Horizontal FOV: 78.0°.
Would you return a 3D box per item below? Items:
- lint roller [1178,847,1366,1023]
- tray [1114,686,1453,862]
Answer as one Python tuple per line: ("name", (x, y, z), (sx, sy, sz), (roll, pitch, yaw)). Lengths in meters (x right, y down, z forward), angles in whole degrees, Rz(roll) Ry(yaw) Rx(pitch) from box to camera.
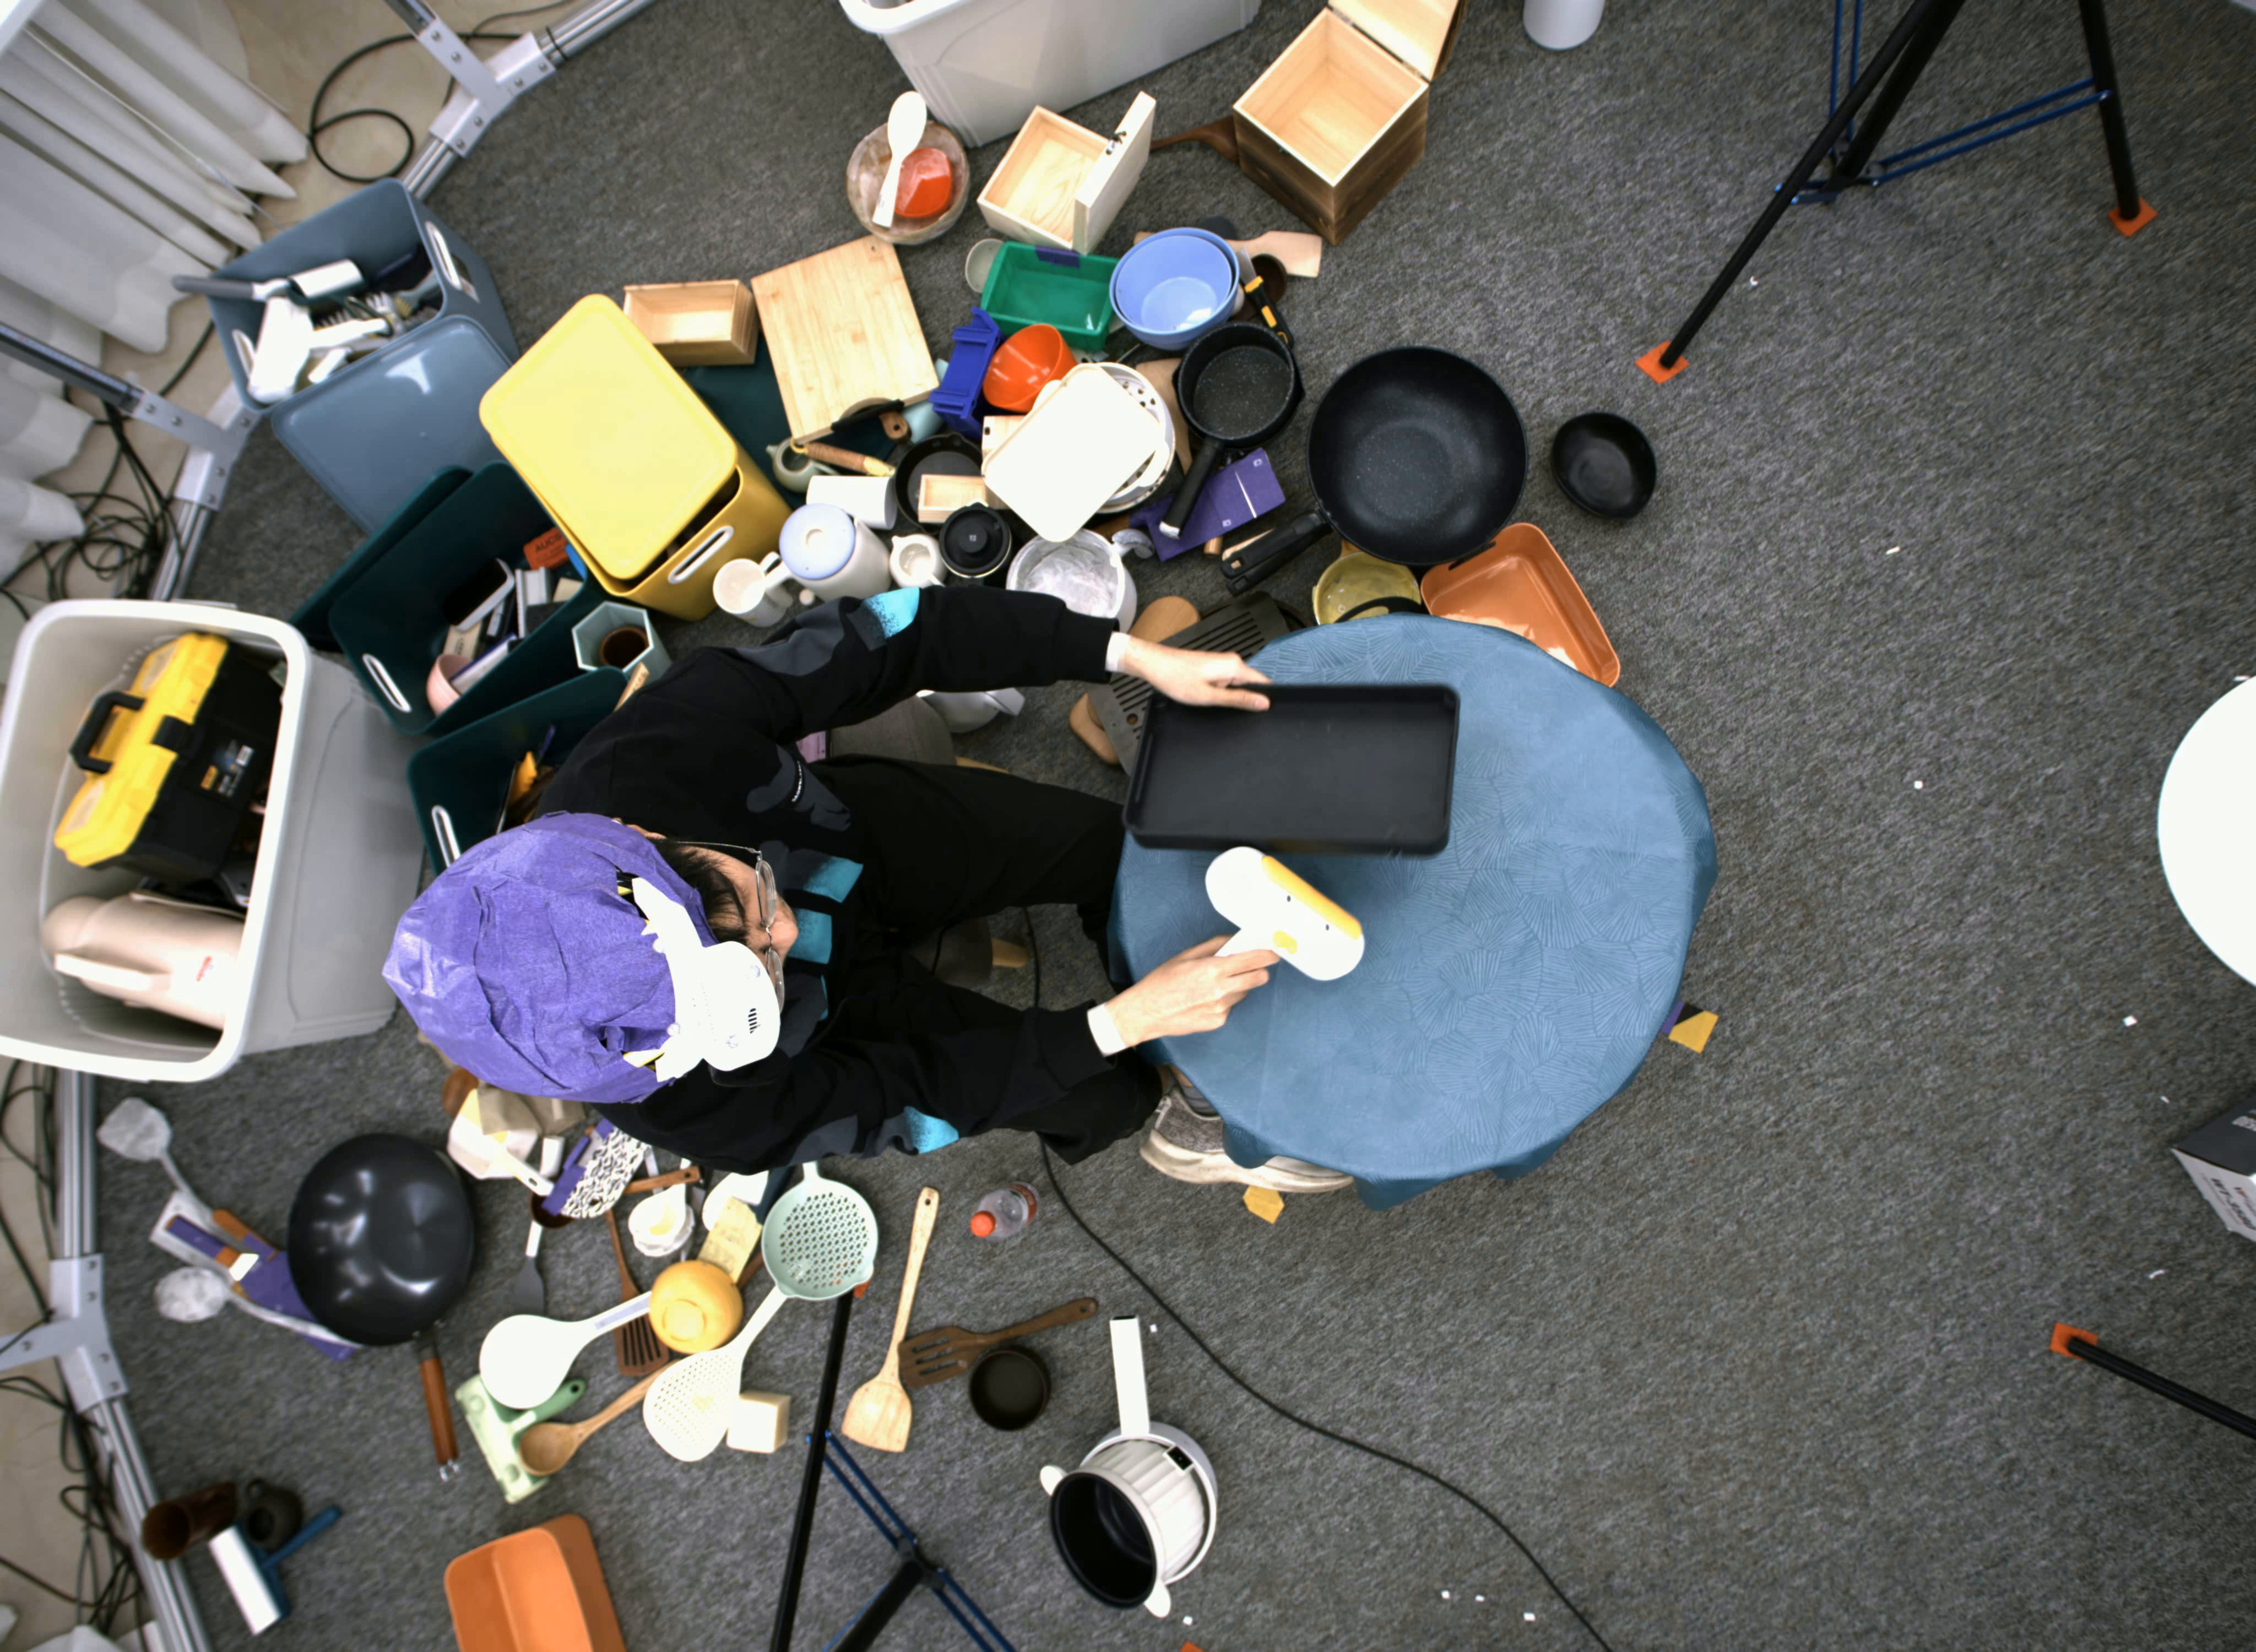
("lint roller", (0.117, 0.123, 1.382), (0.196, 0.194, 0.072), (-42, 36, 32))
("tray", (0.154, -0.055, 1.354), (0.319, 0.037, 0.180), (1, 62, 18))
